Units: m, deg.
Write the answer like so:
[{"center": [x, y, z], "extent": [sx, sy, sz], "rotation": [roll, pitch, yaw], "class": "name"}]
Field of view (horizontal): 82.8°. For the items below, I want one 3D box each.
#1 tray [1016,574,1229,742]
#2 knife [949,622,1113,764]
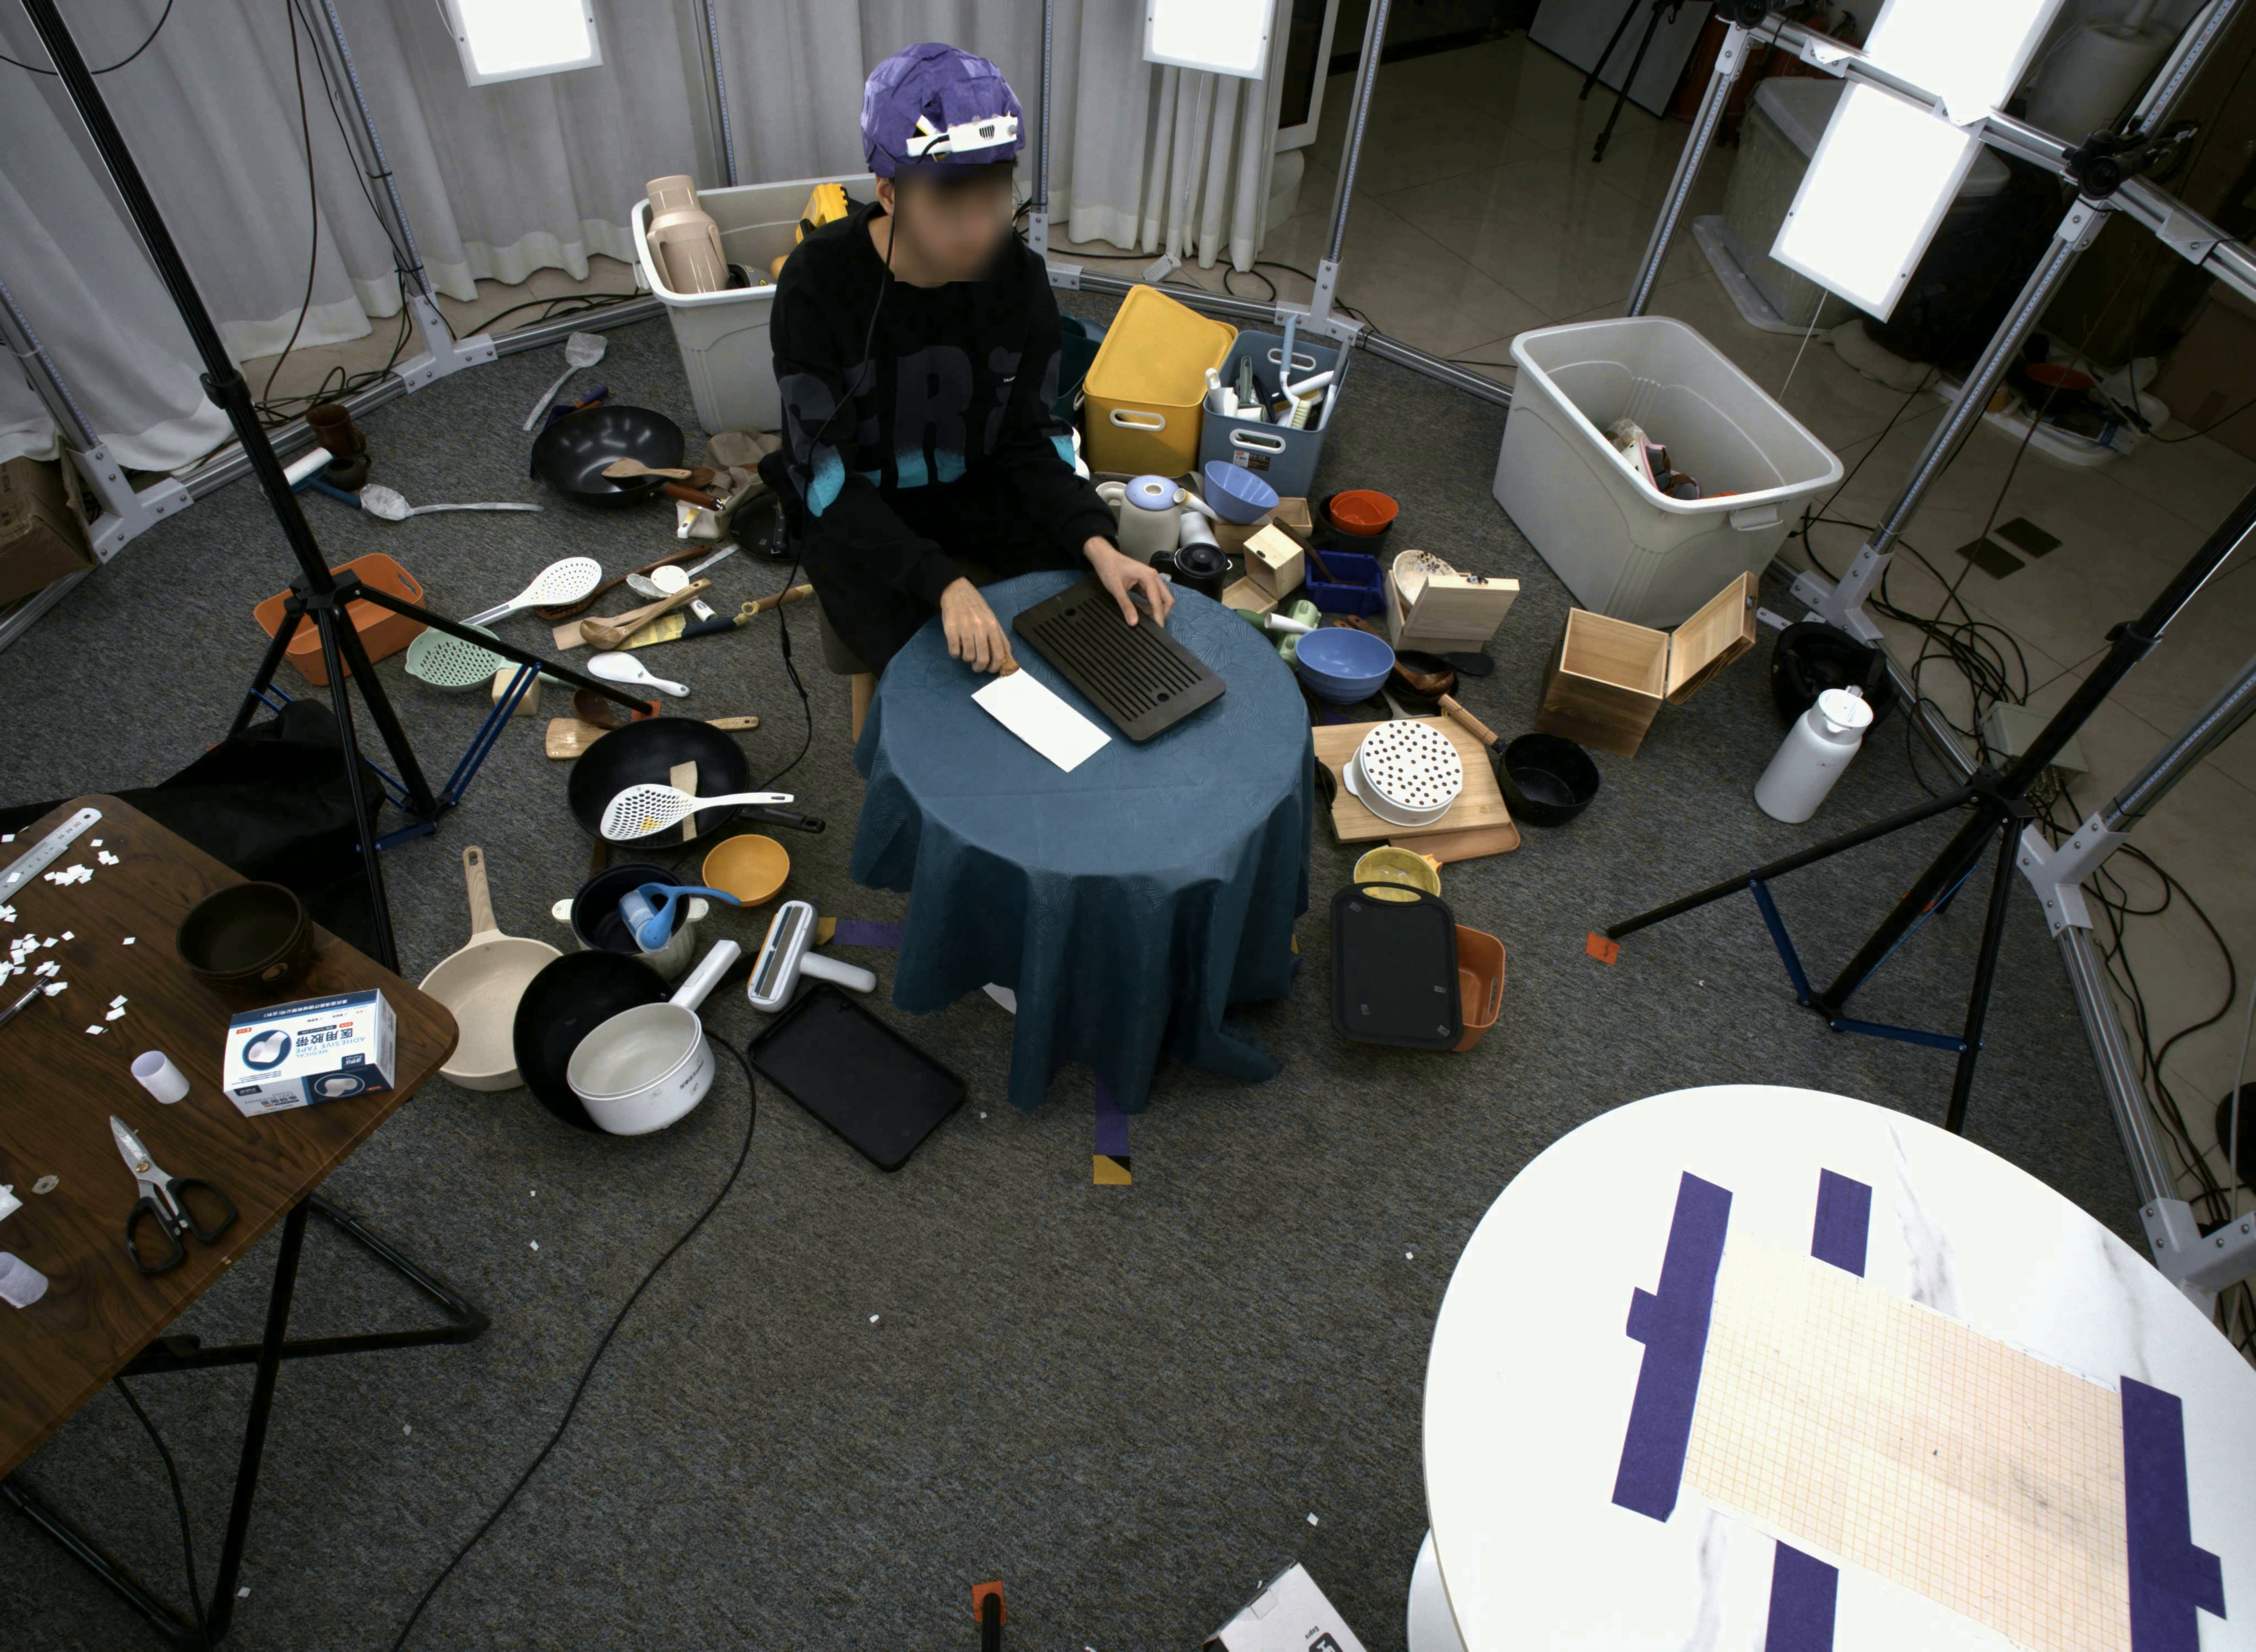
[{"center": [-0.011, -0.248, 1.864], "extent": [0.171, 0.018, 0.311], "rotation": [-31, 58, -22], "class": "tray"}, {"center": [-0.158, -0.185, 1.806], "extent": [0.310, 0.020, 0.094], "rotation": [39, 58, 22], "class": "knife"}]
